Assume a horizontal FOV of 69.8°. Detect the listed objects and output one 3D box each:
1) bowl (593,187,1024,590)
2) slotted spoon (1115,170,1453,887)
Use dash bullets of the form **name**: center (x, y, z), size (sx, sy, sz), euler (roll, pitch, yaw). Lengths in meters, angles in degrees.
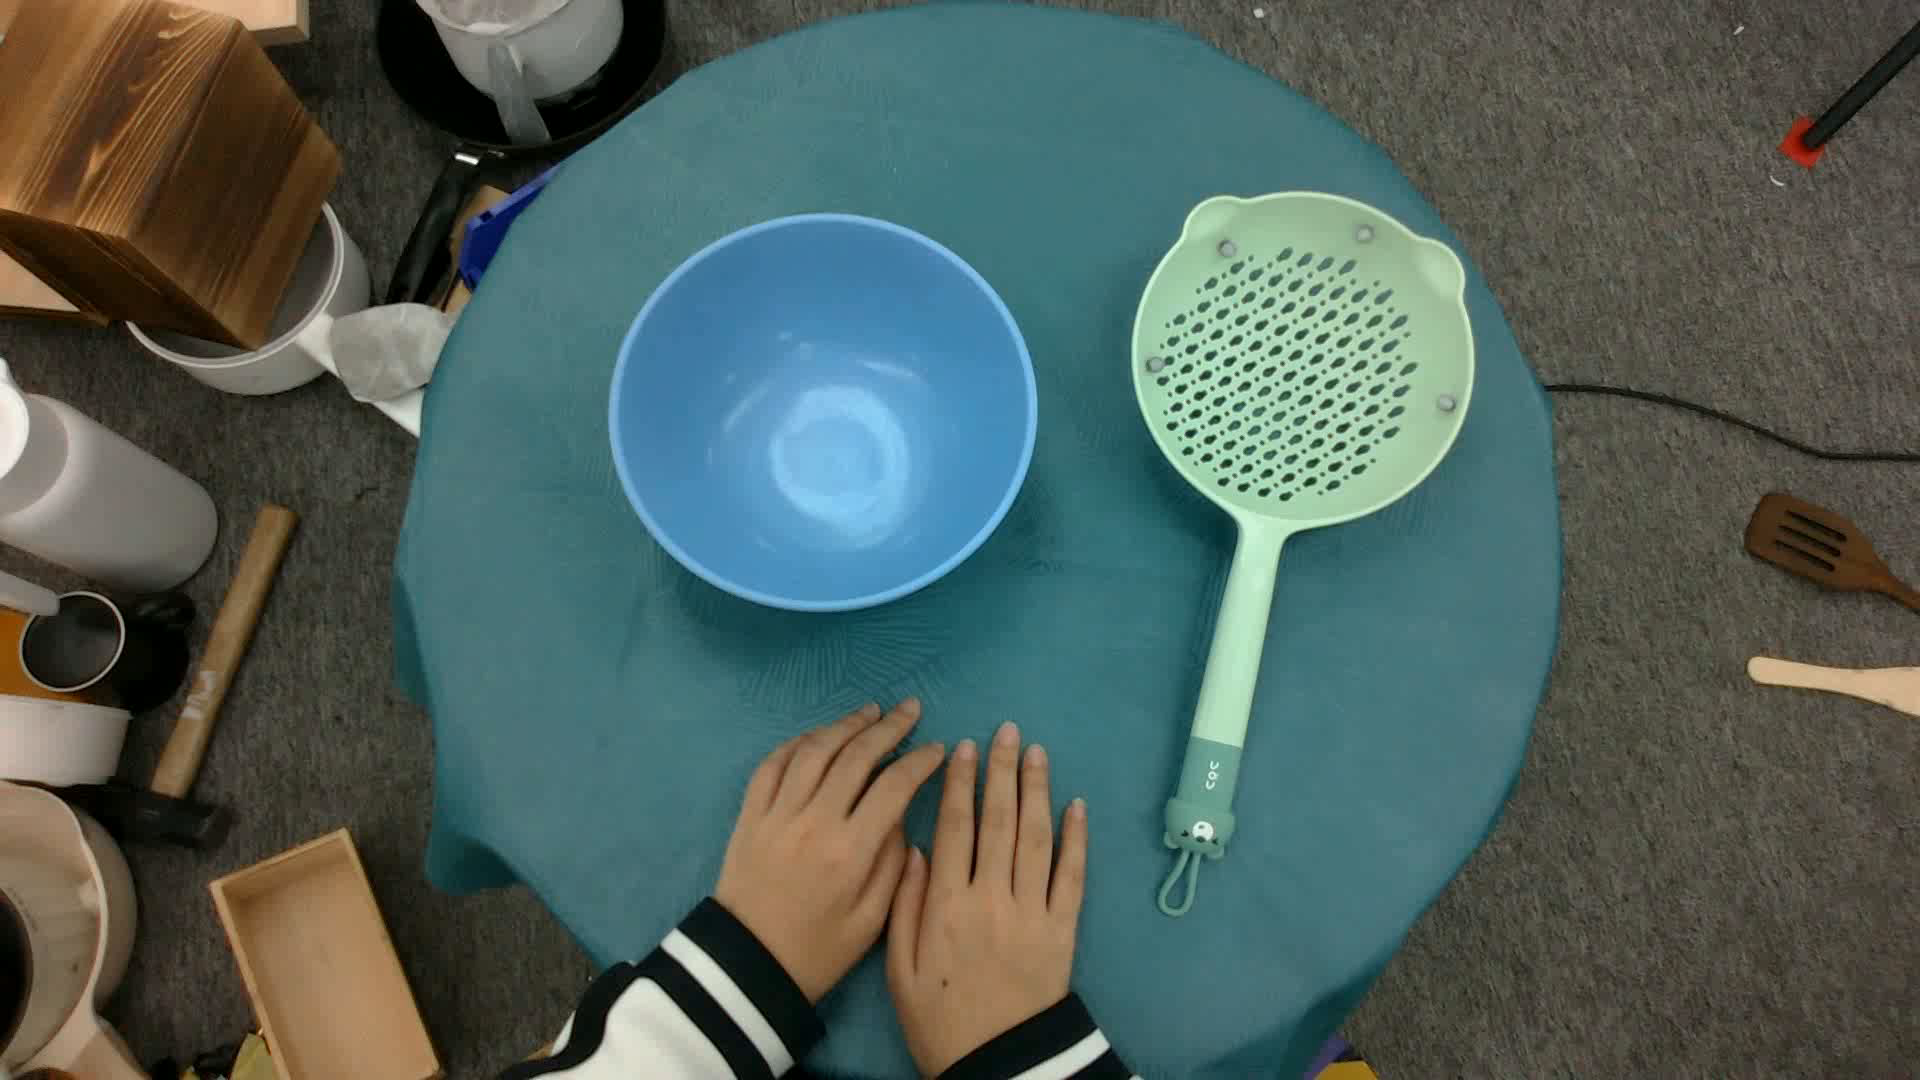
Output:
- **bowl**: center (-0.071, -0.062, 0.673), size (0.196, 0.095, 0.197), euler (1, 75, -3)
- **slotted spoon**: center (0.138, -0.007, 0.686), size (0.169, 0.075, 0.359), euler (14, 75, 2)
